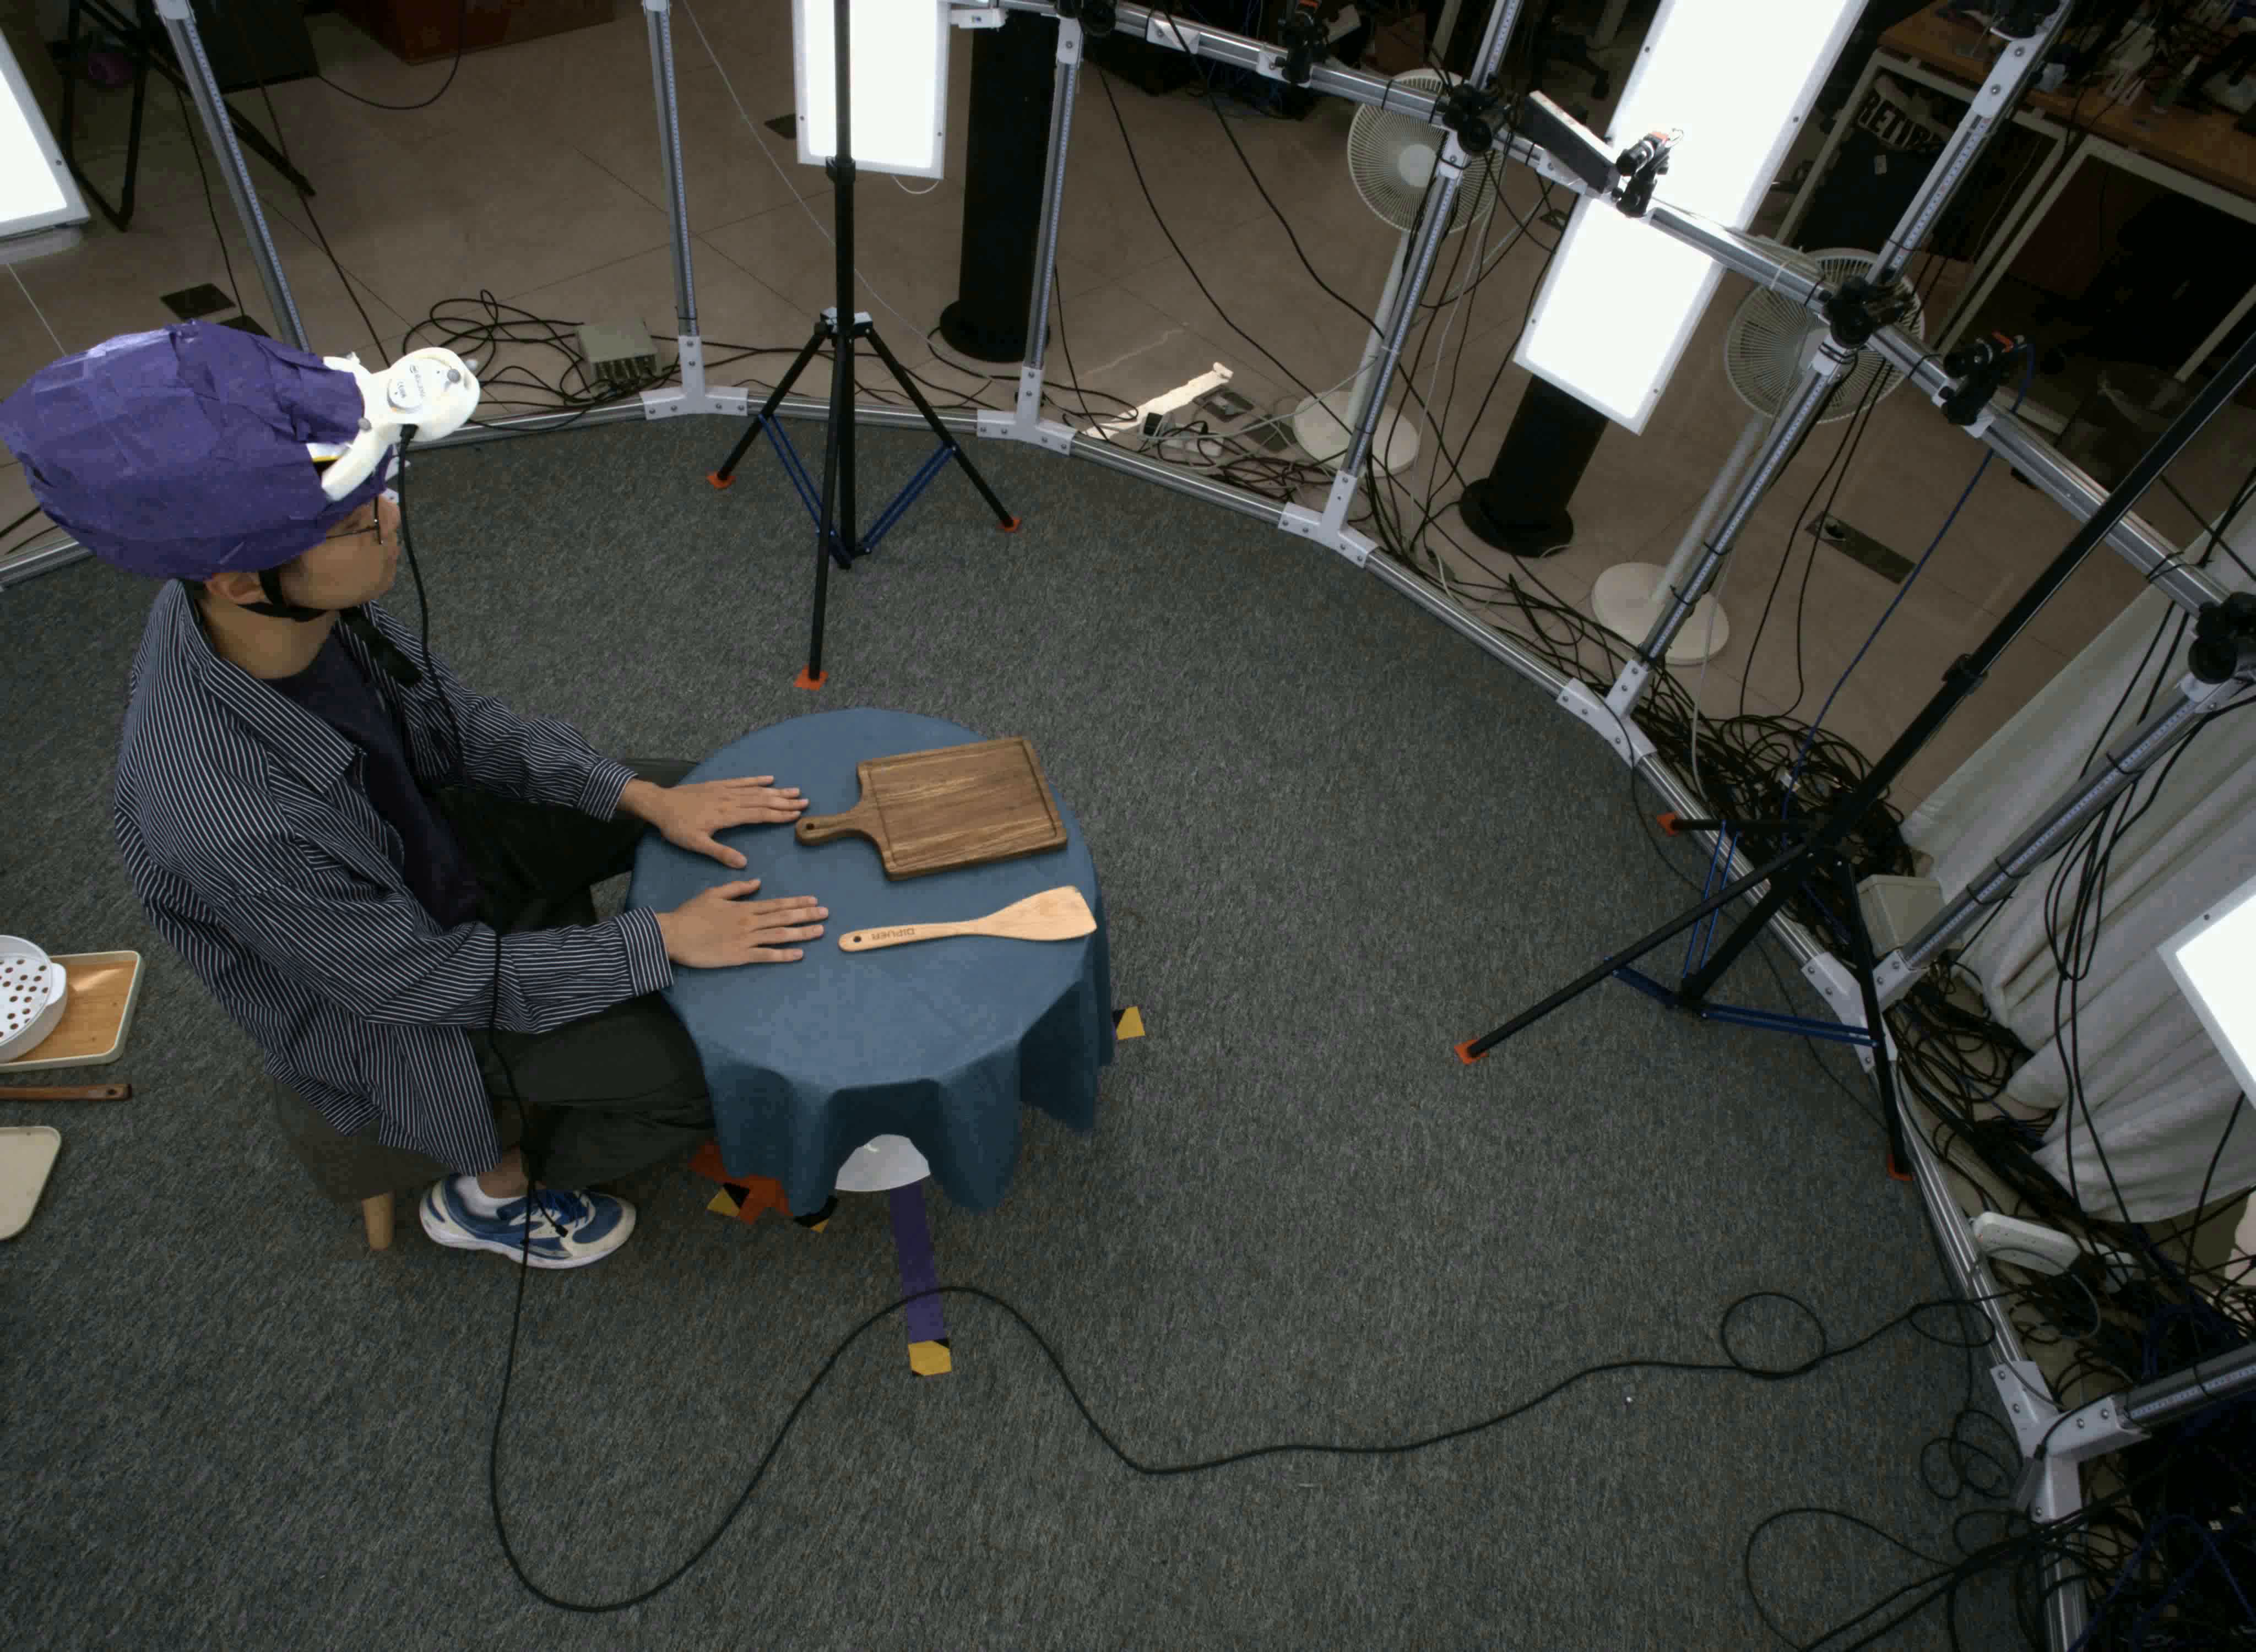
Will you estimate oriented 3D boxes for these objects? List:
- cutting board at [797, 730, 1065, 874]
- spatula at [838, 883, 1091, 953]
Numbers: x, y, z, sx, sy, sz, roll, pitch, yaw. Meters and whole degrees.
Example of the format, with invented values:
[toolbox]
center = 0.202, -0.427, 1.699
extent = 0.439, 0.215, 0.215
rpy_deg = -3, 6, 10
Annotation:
[cutting board]
center = -0.278, -0.031, 1.785
extent = 0.353, 0.024, 0.196
rpy_deg = -10, 57, -20
[spatula]
center = -0.212, 0.125, 1.688
extent = 0.329, 0.017, 0.078
rpy_deg = -7, 55, -18
